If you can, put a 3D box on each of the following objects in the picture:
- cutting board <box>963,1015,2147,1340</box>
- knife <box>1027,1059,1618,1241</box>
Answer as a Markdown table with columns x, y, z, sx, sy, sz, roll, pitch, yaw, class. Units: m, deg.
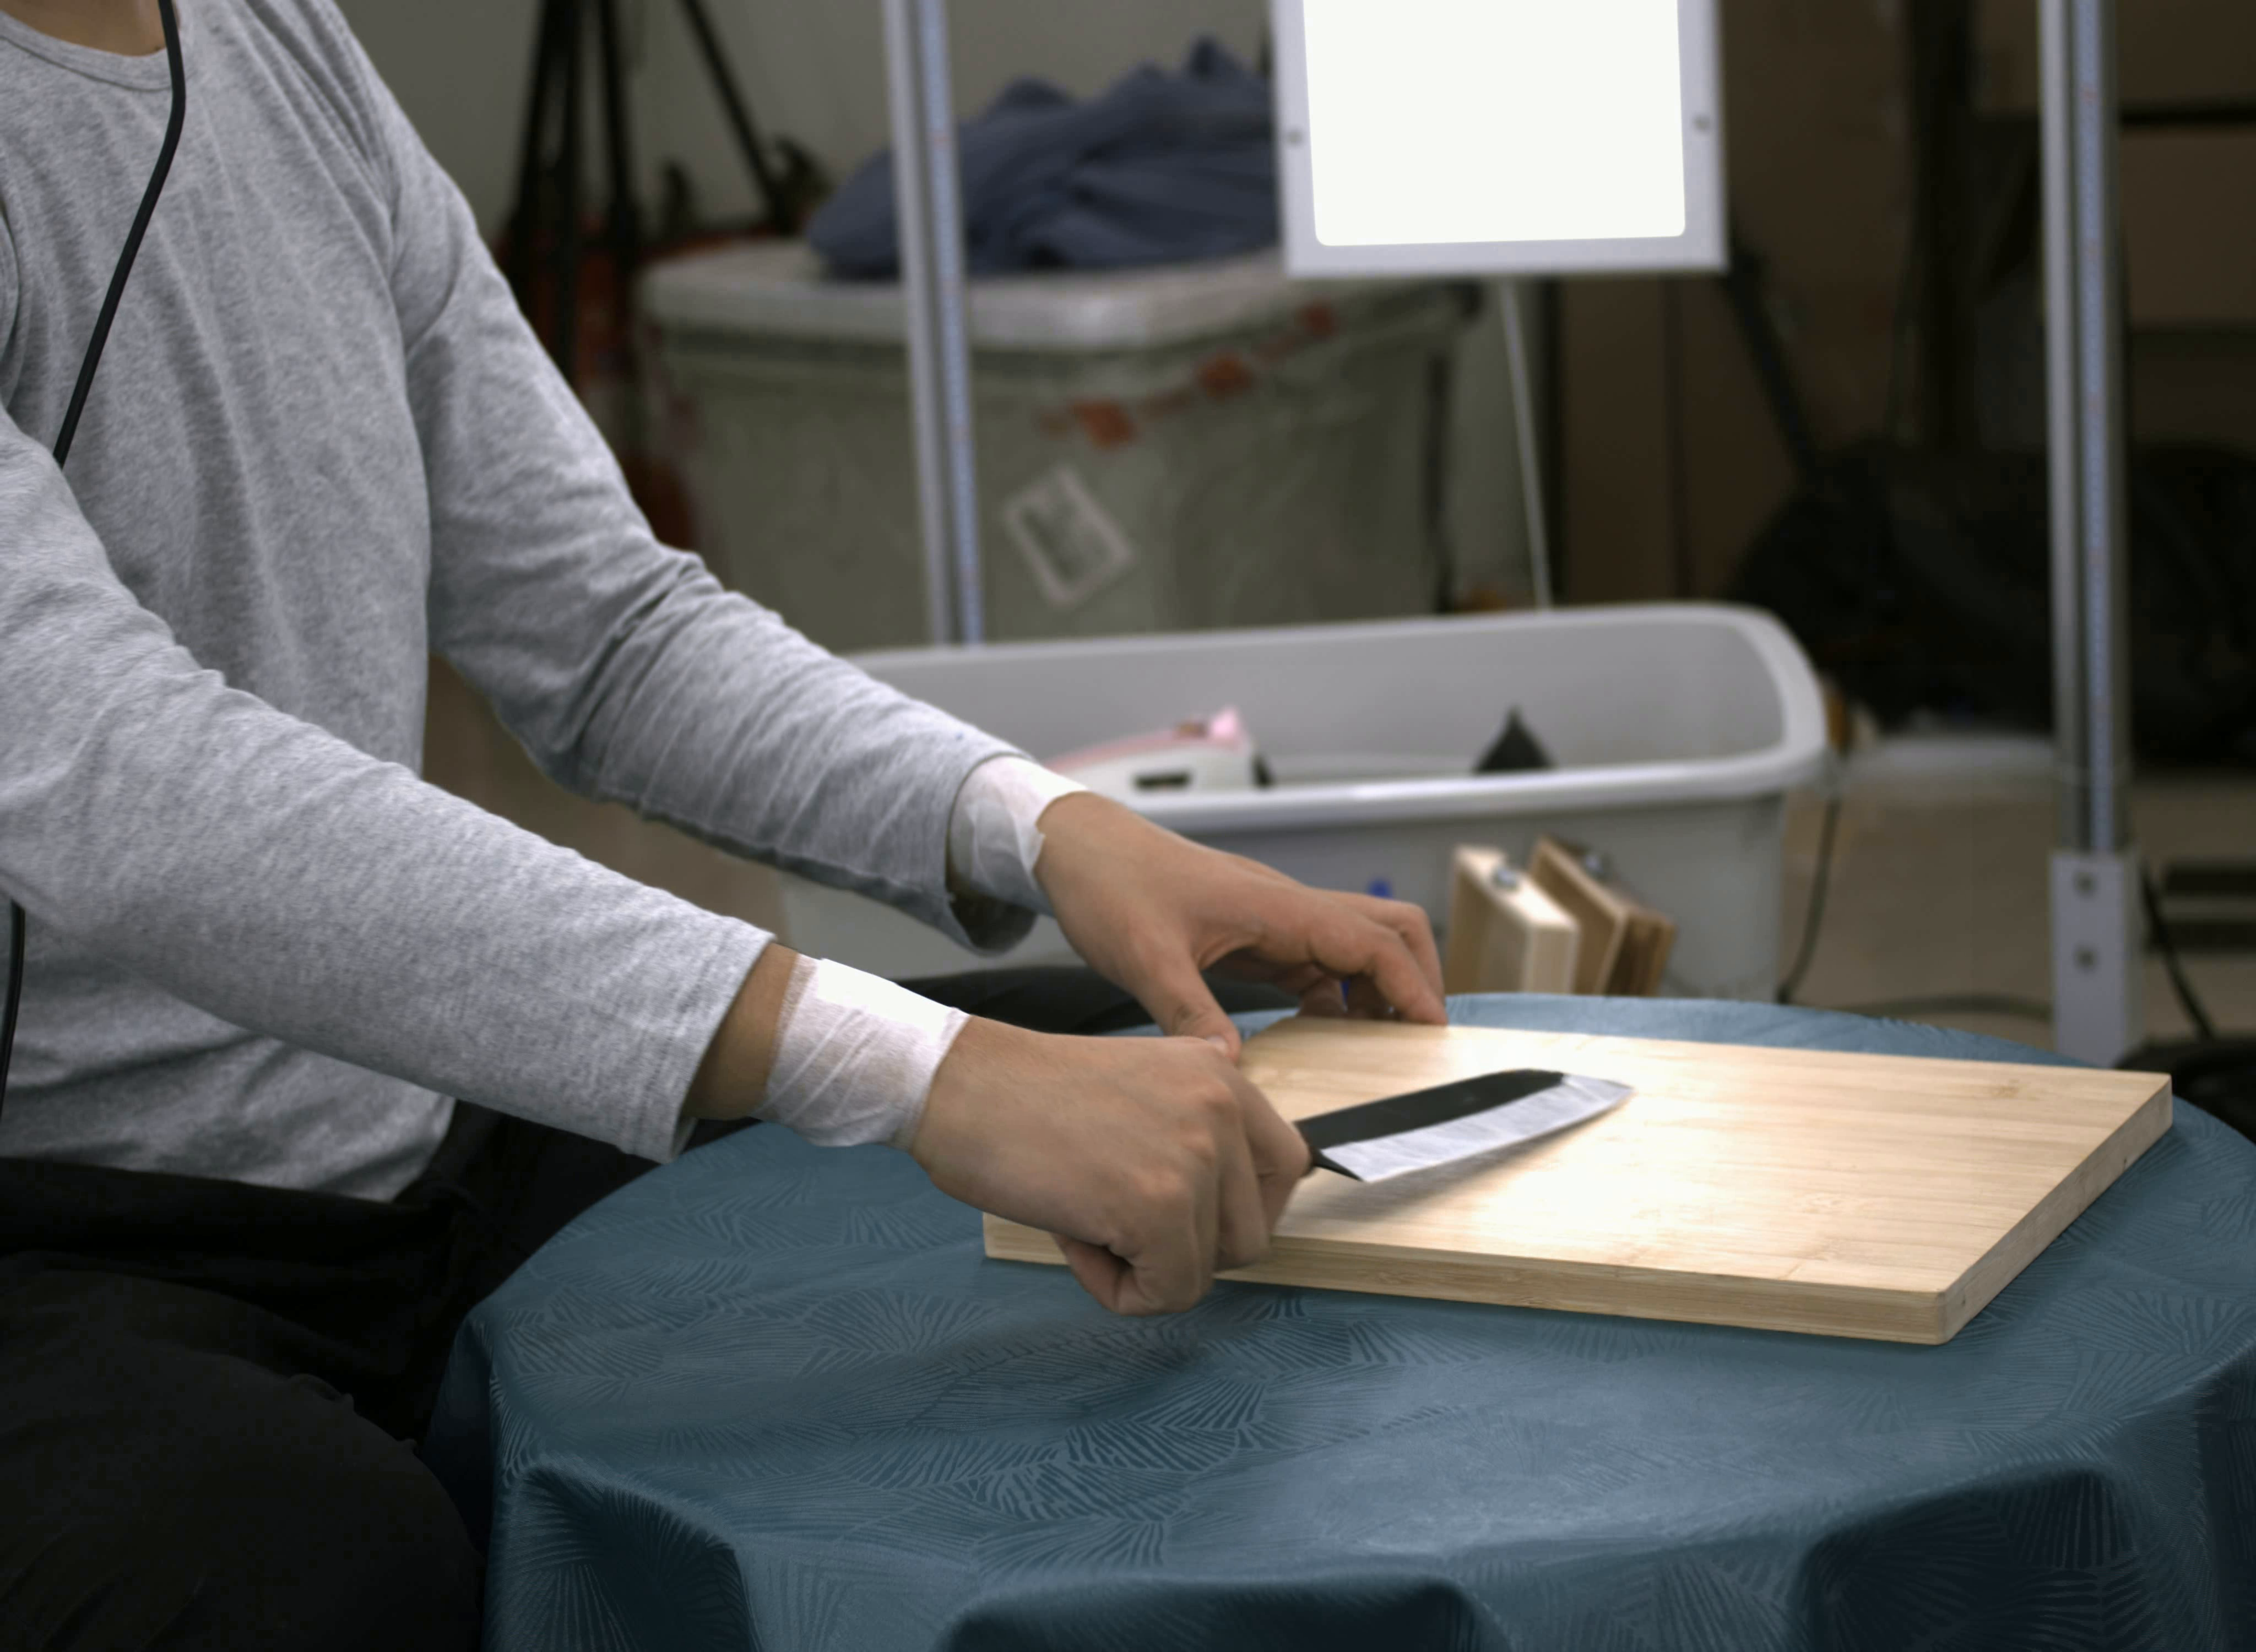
| x | y | z | sx | sy | sz | roll | pitch | yaw | class |
| --- | --- | --- | --- | --- | --- | --- | --- | --- | --- |
| 0.151 | 0.115 | 1.862 | 0.355 | 0.023 | 0.245 | 2 | 15 | 29 | cutting board |
| 0.071 | 0.103 | 1.813 | 0.281 | 0.020 | 0.051 | -9 | 30 | -46 | knife |
